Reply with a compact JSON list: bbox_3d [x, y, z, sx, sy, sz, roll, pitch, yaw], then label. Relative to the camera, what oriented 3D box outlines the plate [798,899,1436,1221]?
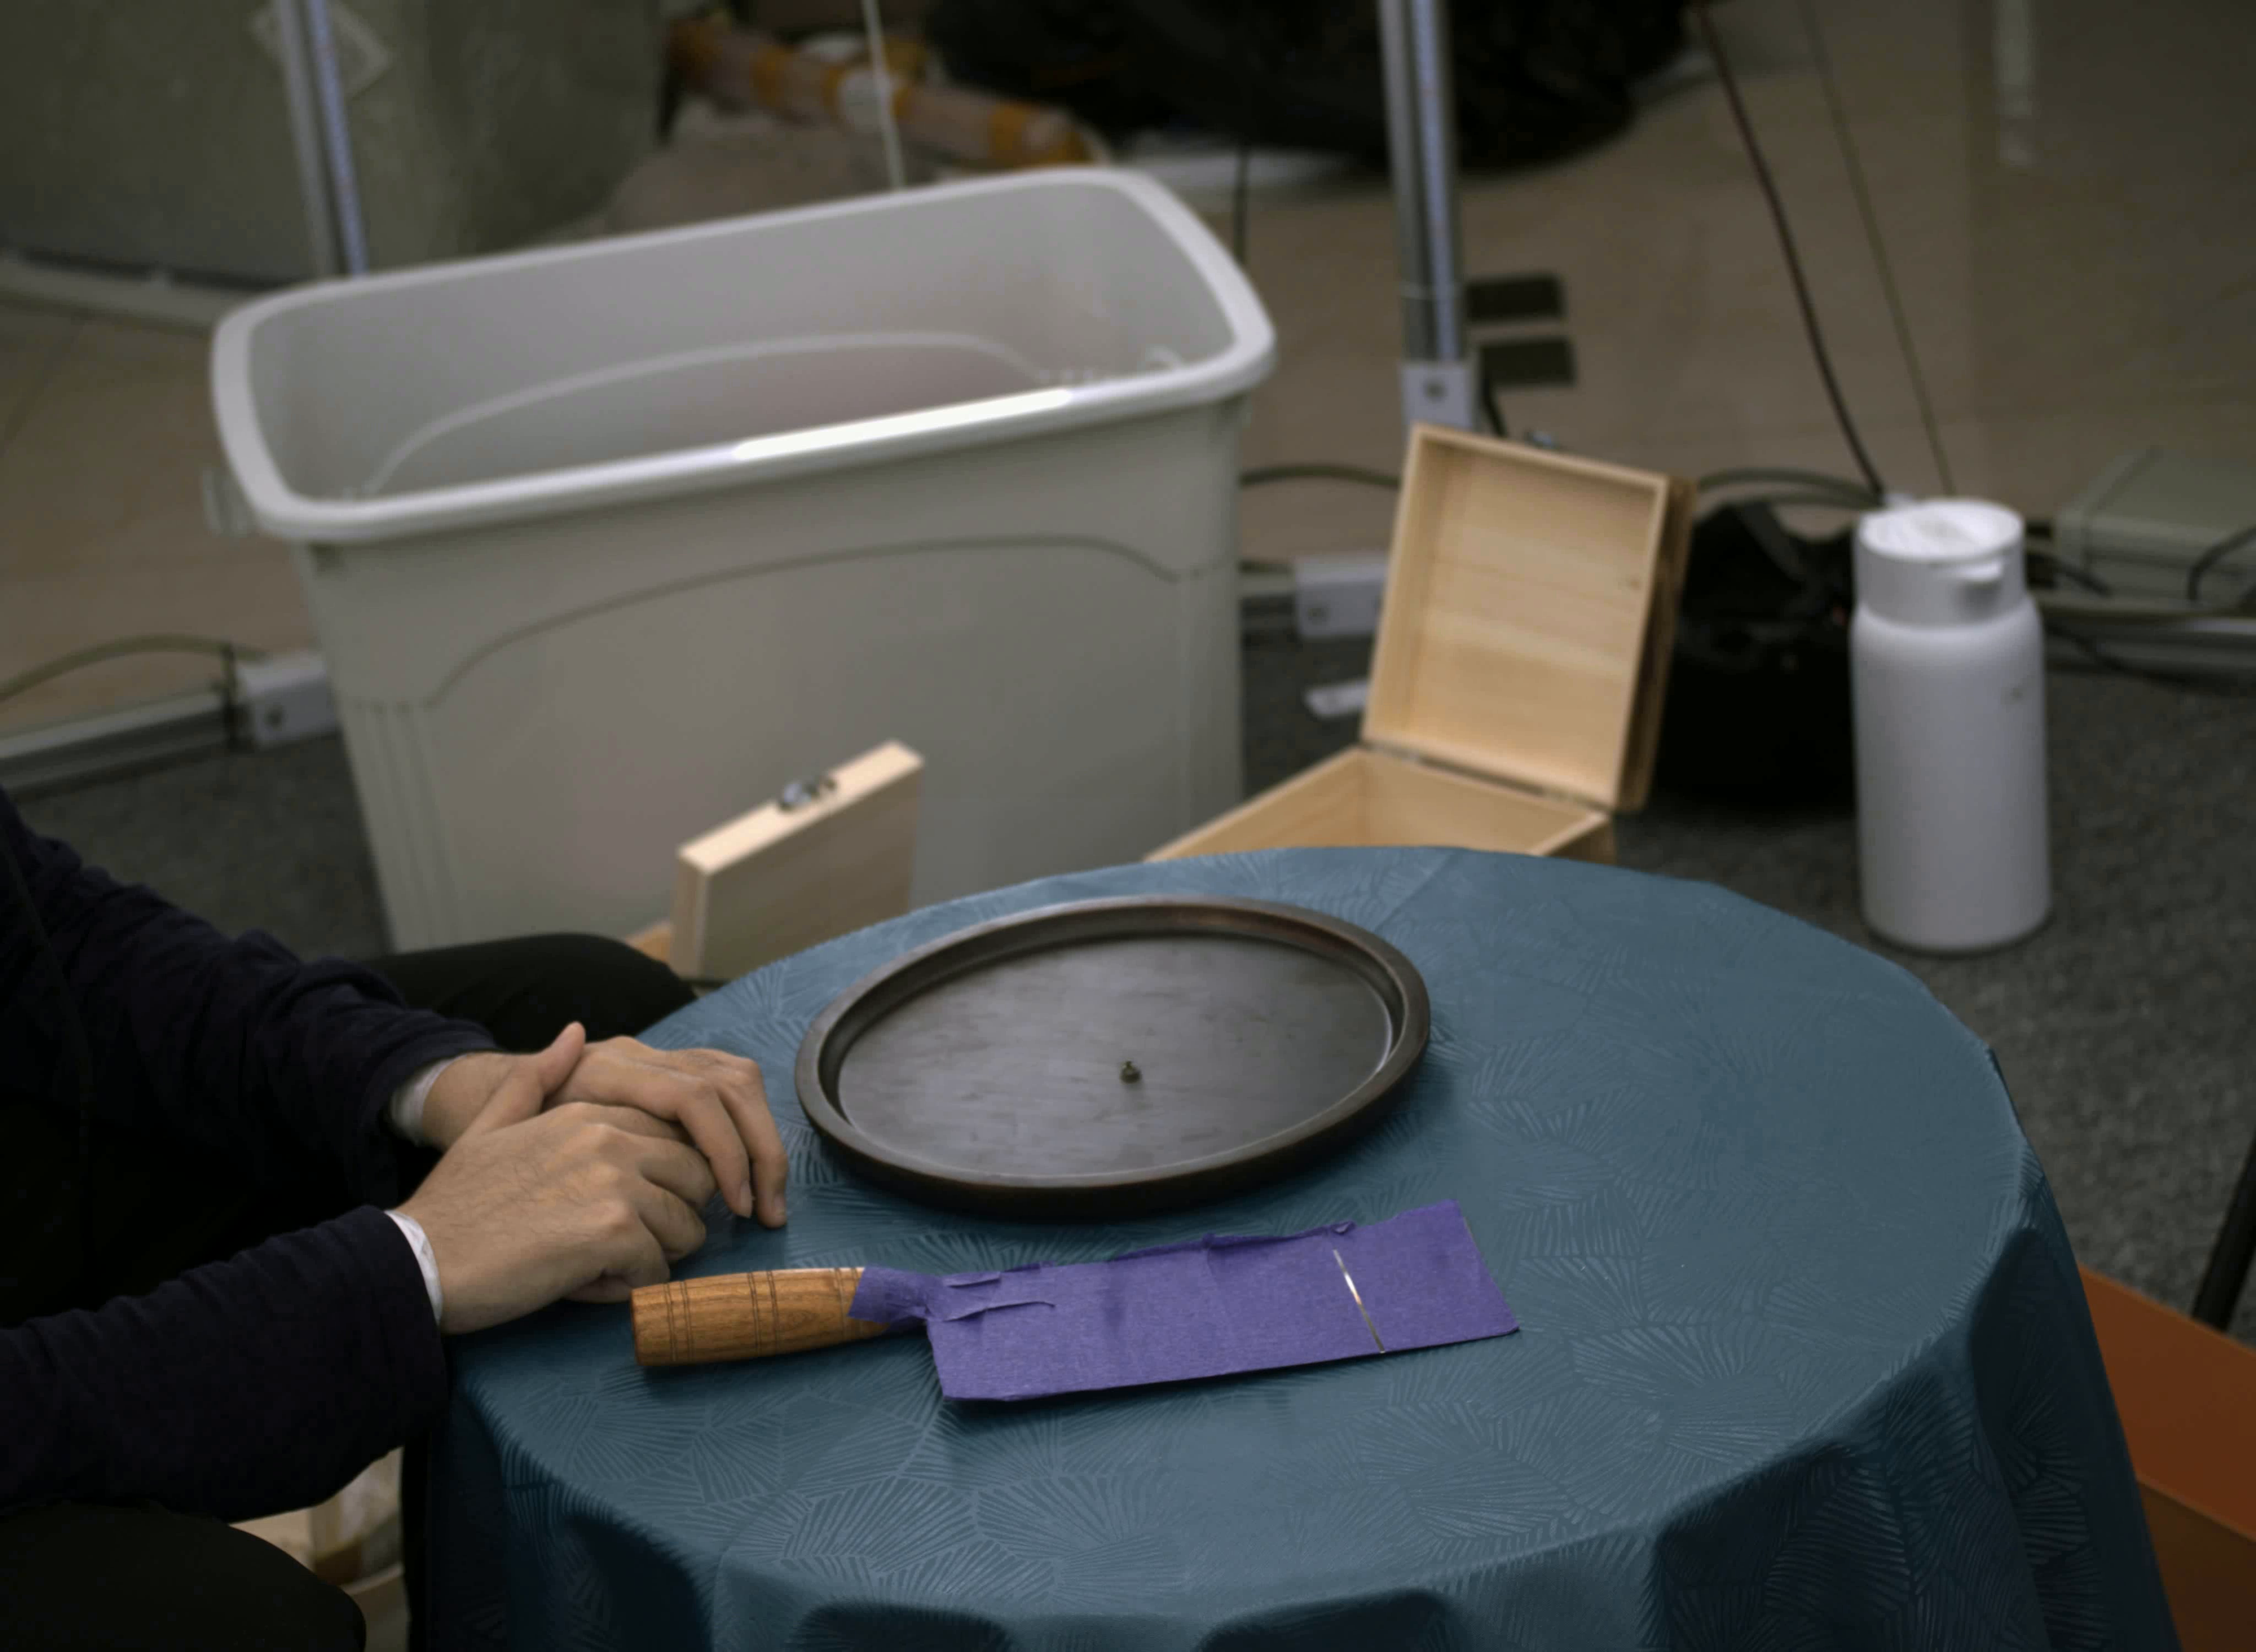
[{"bbox_3d":[-0.004,0.090,2.230,0.254,0.029,0.251,-5,25,2],"label":"plate"}]

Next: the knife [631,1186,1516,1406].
[{"bbox_3d":[-0.020,0.175,2.046,0.314,0.033,0.102,-9,25,-6],"label":"knife"}]
